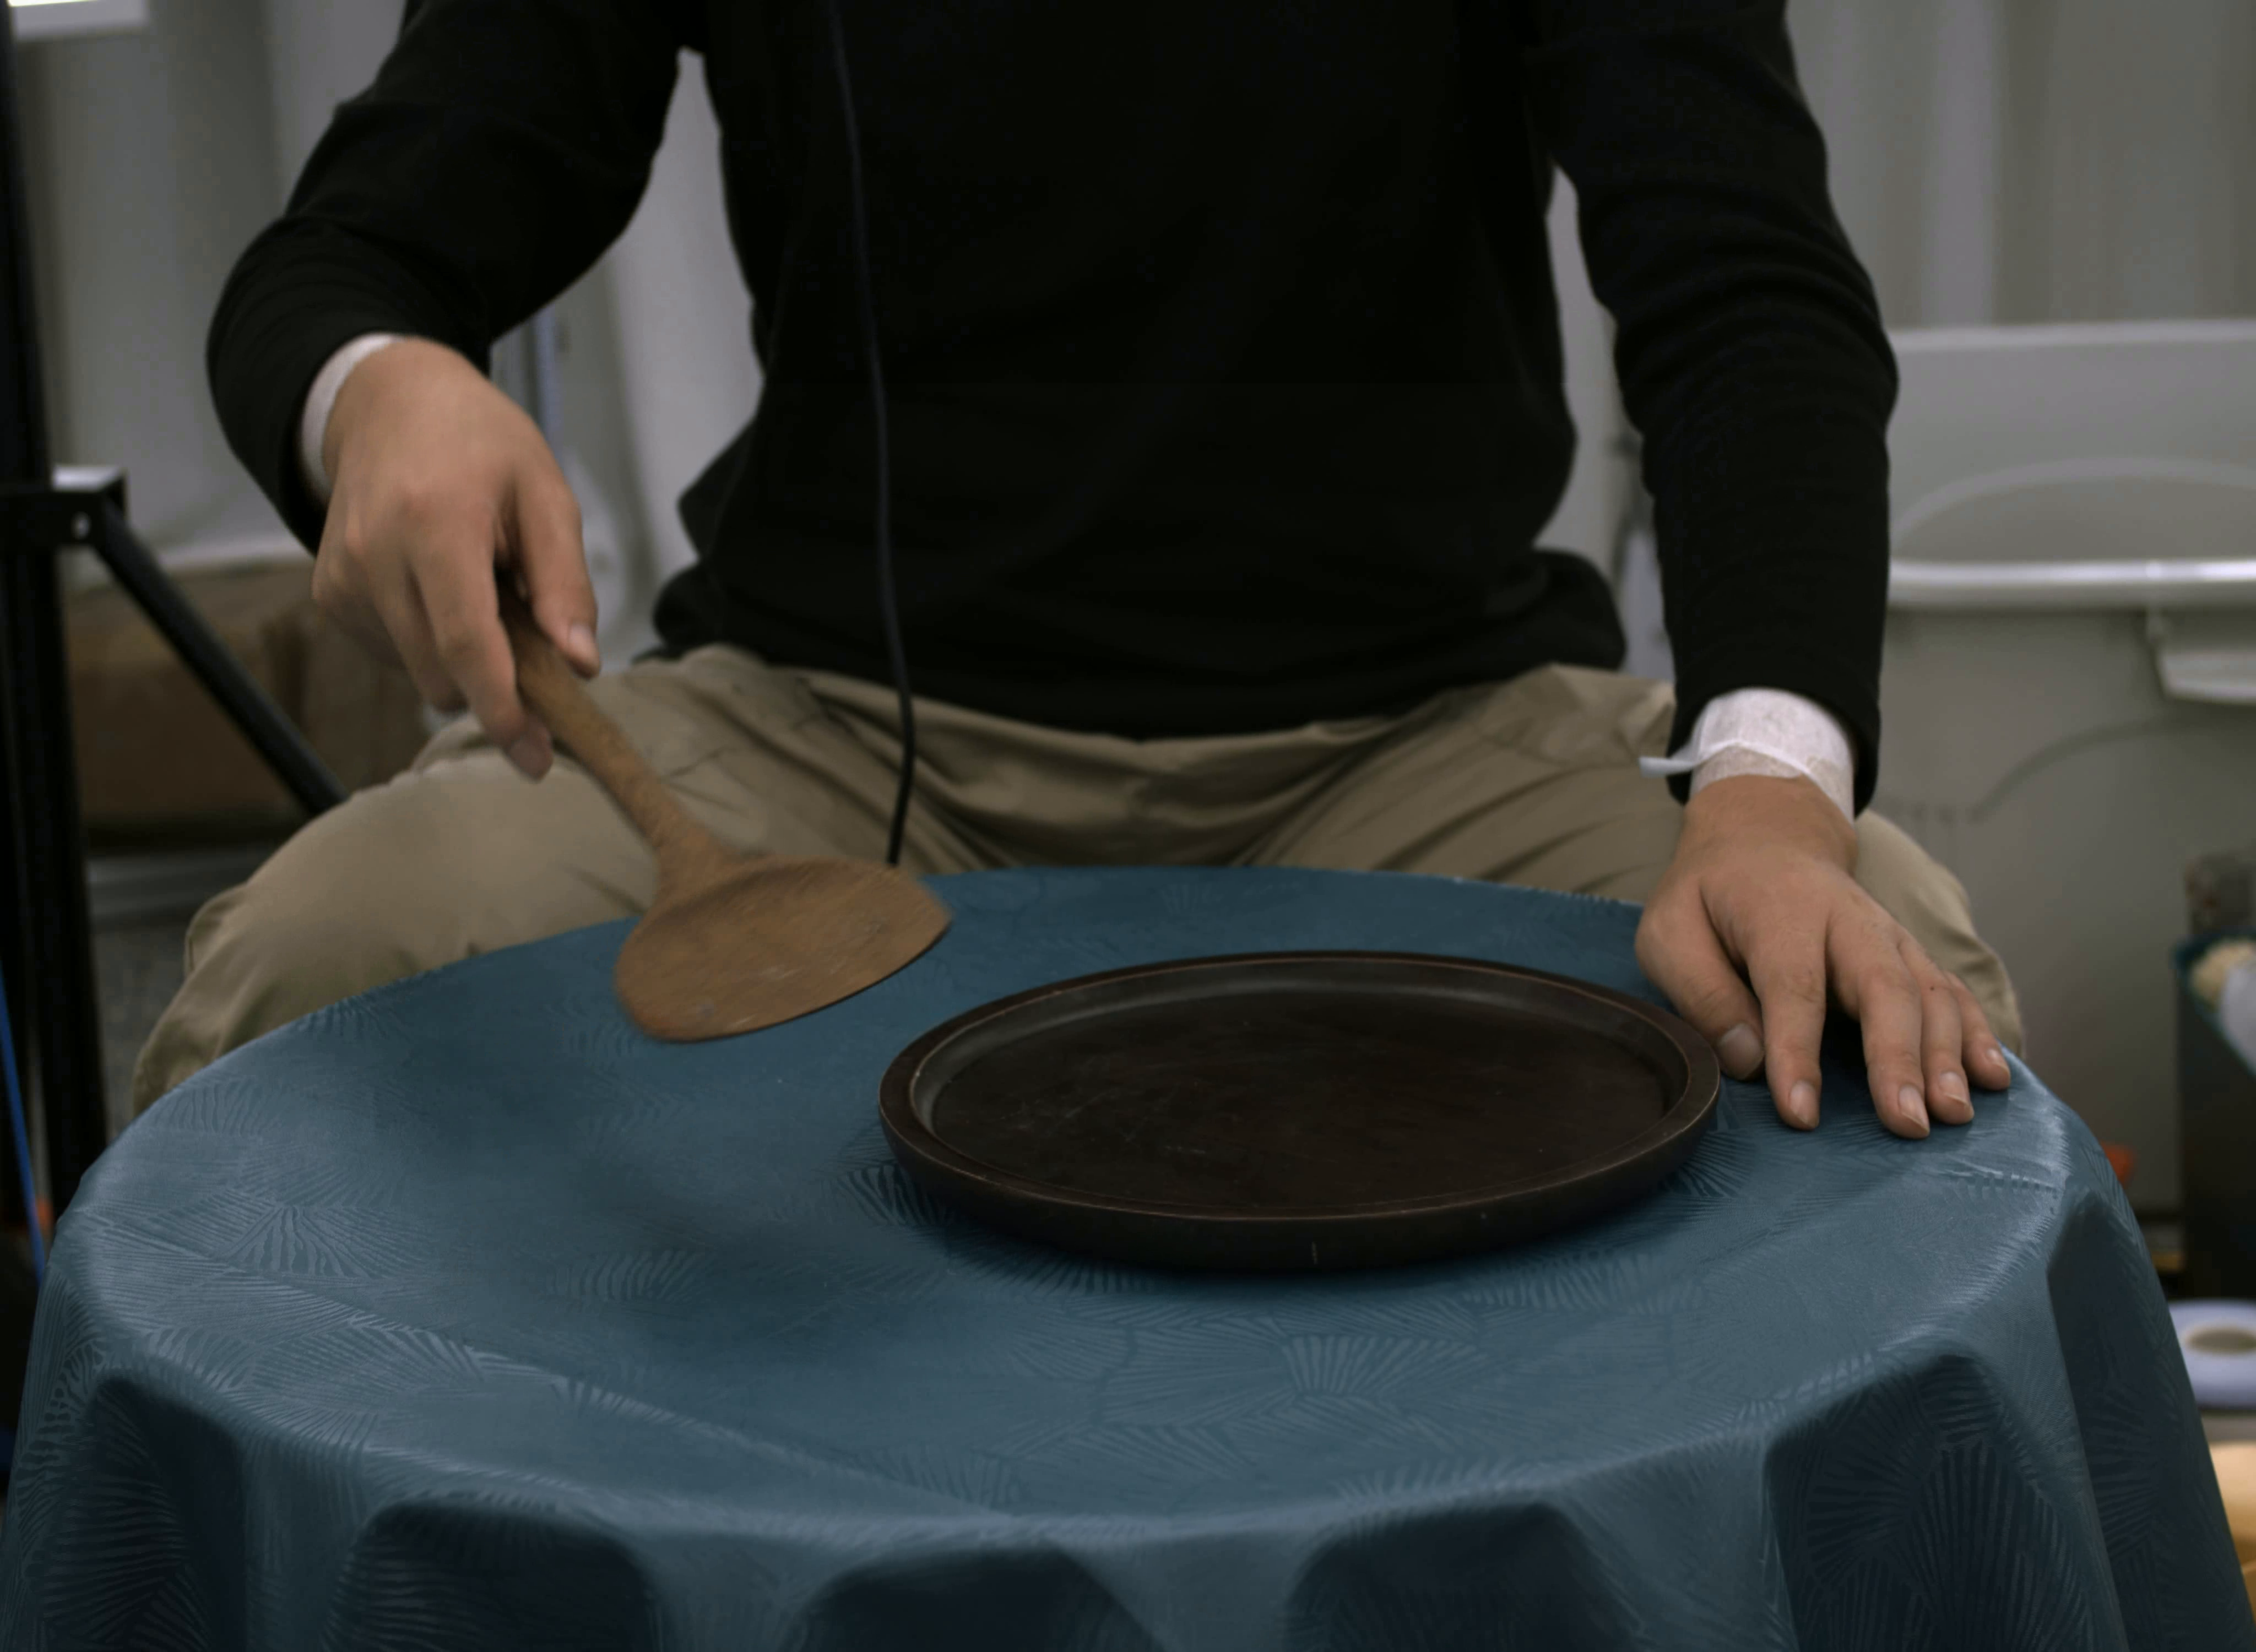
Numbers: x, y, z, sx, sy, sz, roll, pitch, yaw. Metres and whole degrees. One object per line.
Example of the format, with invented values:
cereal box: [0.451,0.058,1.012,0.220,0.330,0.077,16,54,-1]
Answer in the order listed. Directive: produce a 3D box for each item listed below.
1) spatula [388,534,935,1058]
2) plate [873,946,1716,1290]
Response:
spatula: [-0.165,-0.020,1.643,0.095,0.015,0.394,-23,31,-14]
plate: [0.050,0.085,1.591,0.253,0.029,0.256,-4,17,0]
